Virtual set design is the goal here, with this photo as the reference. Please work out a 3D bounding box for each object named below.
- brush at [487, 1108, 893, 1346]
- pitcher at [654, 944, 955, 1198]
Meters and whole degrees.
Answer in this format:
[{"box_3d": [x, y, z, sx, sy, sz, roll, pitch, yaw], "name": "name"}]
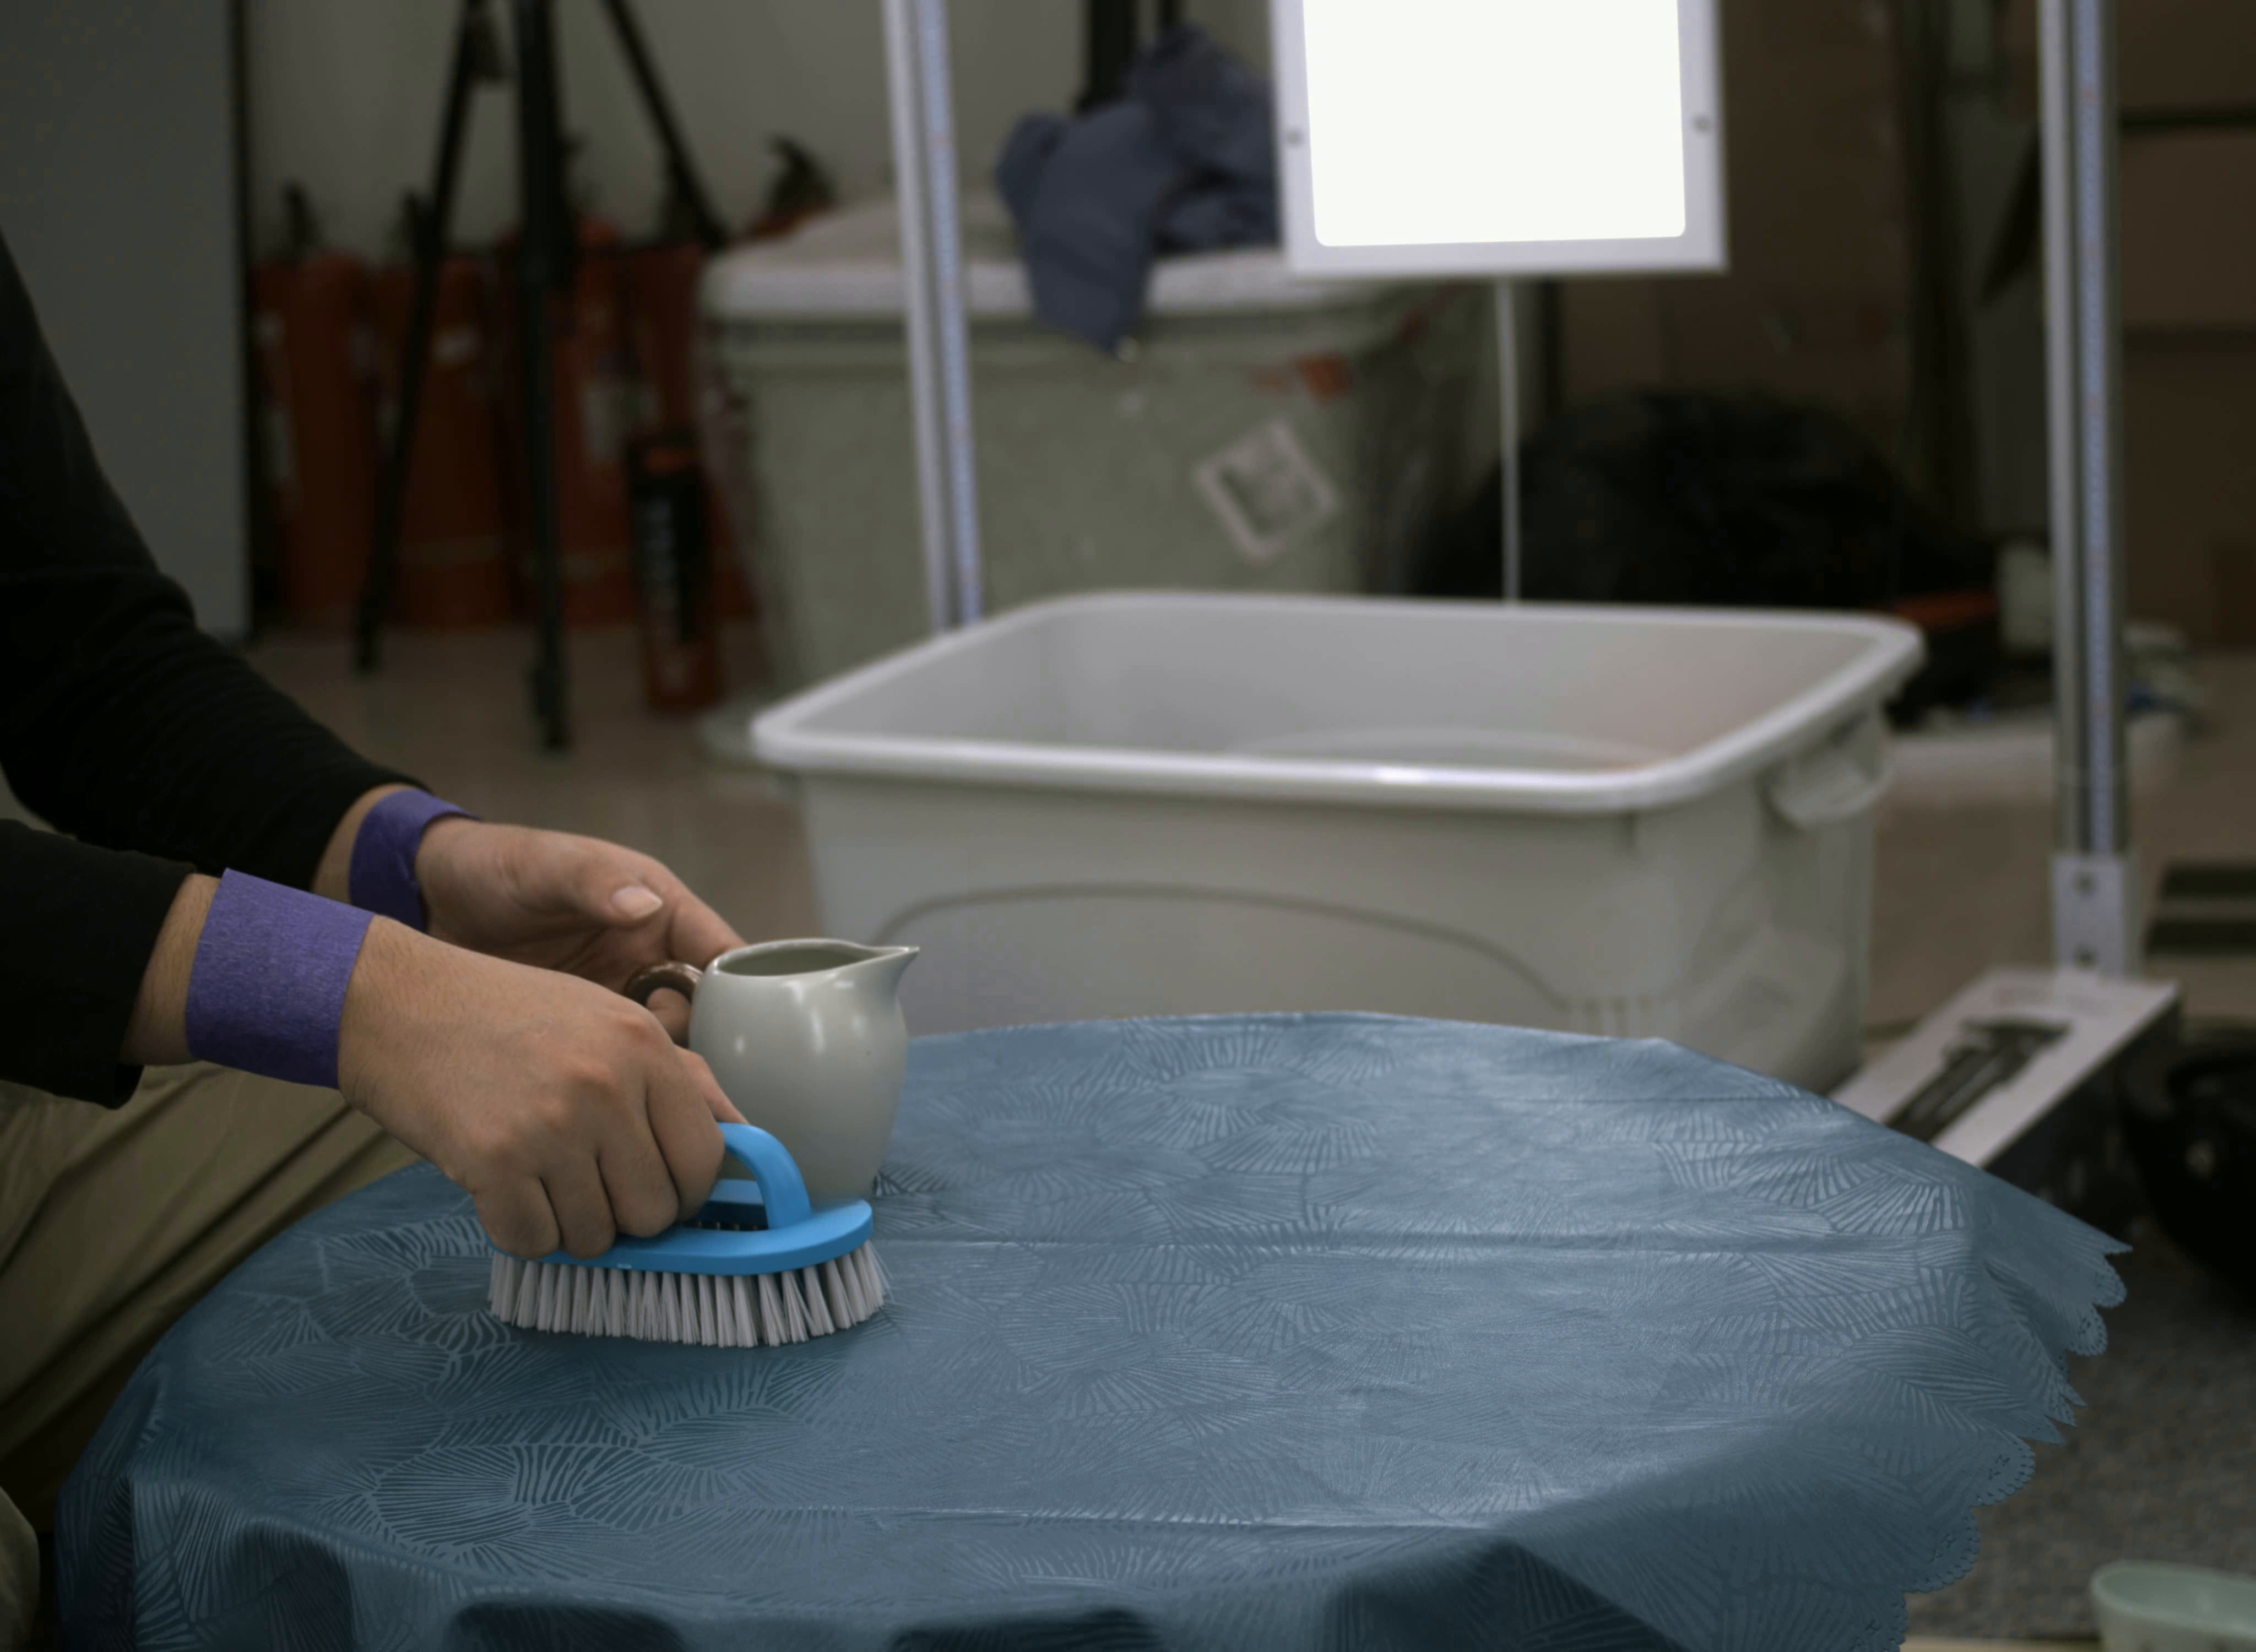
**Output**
[{"box_3d": [-0.149, 0.125, 1.818, 0.144, 0.064, 0.082, 1, 19, 28], "name": "brush"}, {"box_3d": [-0.114, 0.084, 1.928, 0.121, 0.088, 0.074, 6, 12, 27], "name": "pitcher"}]
